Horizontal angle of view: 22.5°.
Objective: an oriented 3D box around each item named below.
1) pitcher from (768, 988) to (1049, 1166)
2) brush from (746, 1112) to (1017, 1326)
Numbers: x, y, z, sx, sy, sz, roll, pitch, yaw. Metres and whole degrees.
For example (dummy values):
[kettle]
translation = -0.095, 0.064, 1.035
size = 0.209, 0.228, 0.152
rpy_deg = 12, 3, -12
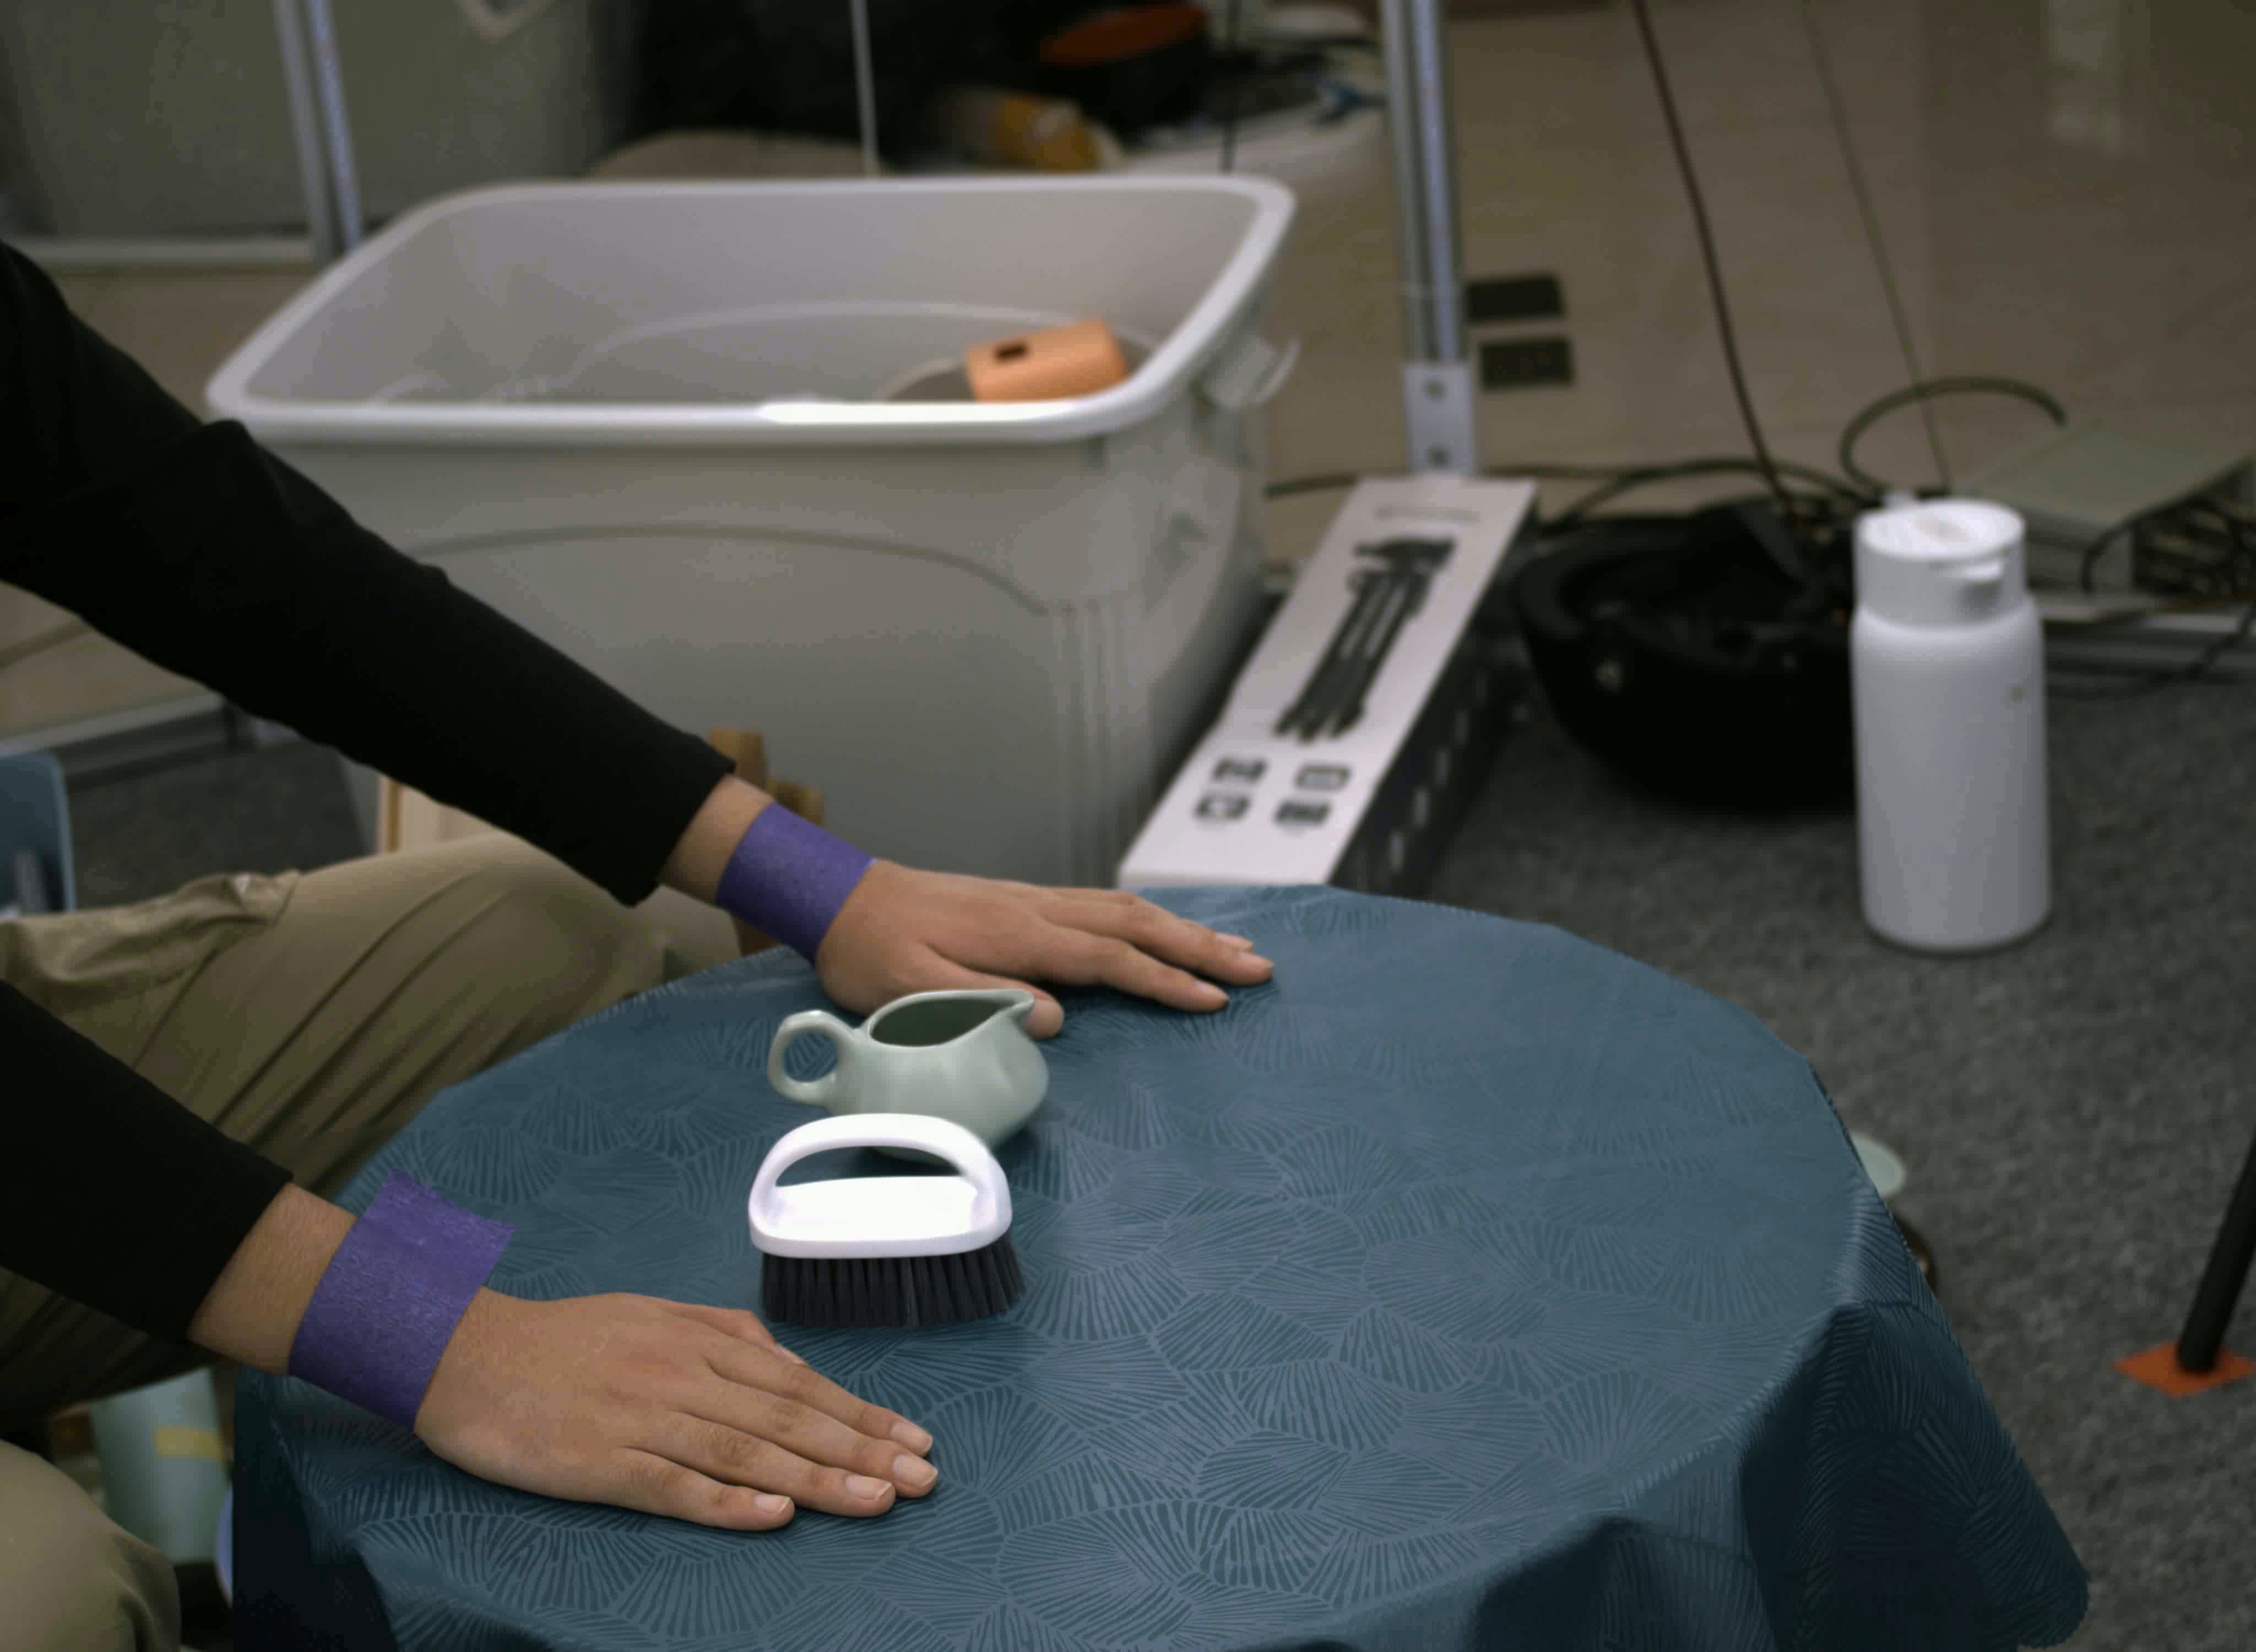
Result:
[pitcher]
translation = -0.085, 0.097, 2.192
size = 0.108, 0.061, 0.085
rpy_deg = -10, 25, -1
[brush]
translation = -0.092, 0.140, 2.078
size = 0.099, 0.073, 0.049
rpy_deg = 0, 25, 11
